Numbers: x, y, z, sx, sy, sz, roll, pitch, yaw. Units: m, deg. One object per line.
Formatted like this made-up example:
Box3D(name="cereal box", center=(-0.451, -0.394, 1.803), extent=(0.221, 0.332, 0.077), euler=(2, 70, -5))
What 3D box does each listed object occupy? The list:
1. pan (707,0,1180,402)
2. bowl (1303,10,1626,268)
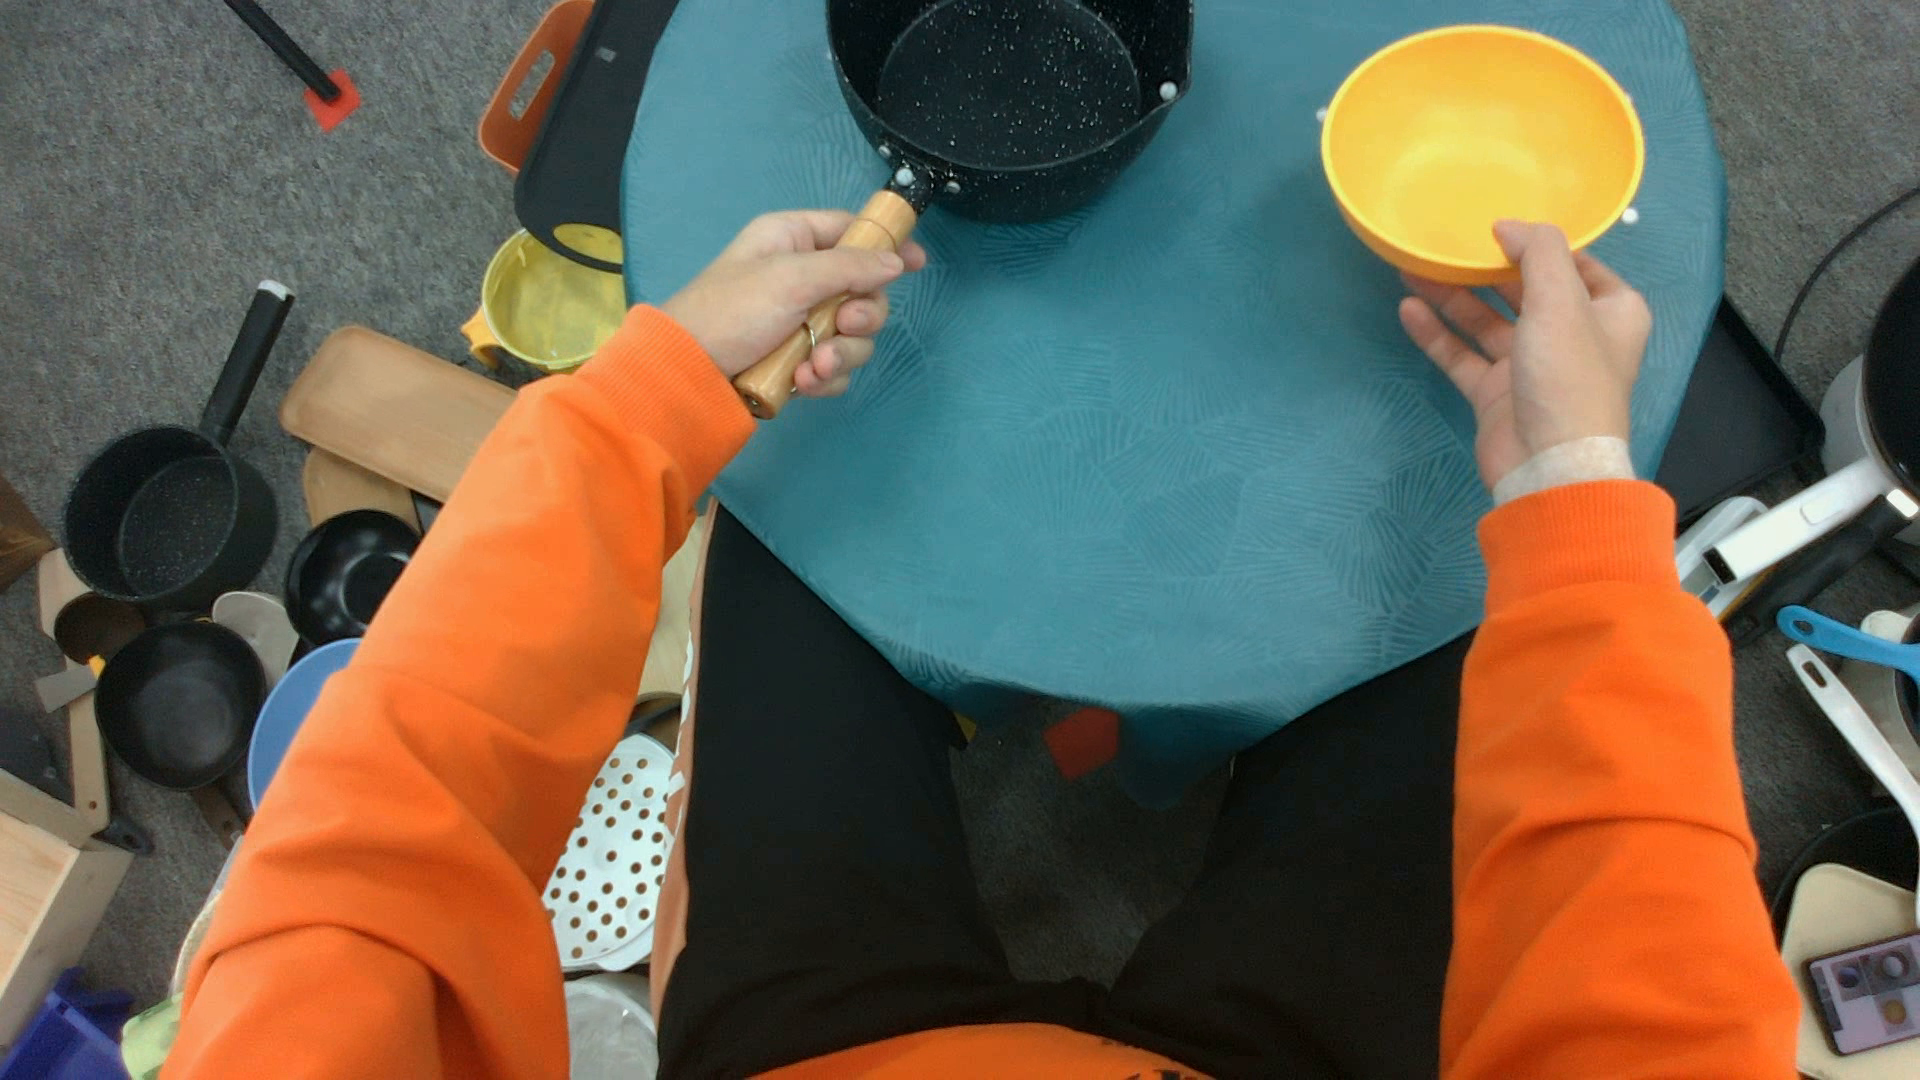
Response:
Box3D(name="pan", center=(-0.020, -0.197, 0.696), extent=(0.207, 0.108, 0.343), euler=(28, 75, 5))
Box3D(name="bowl", center=(0.240, -0.184, 0.672), extent=(0.145, 0.060, 0.146), euler=(-4, 65, 8))
